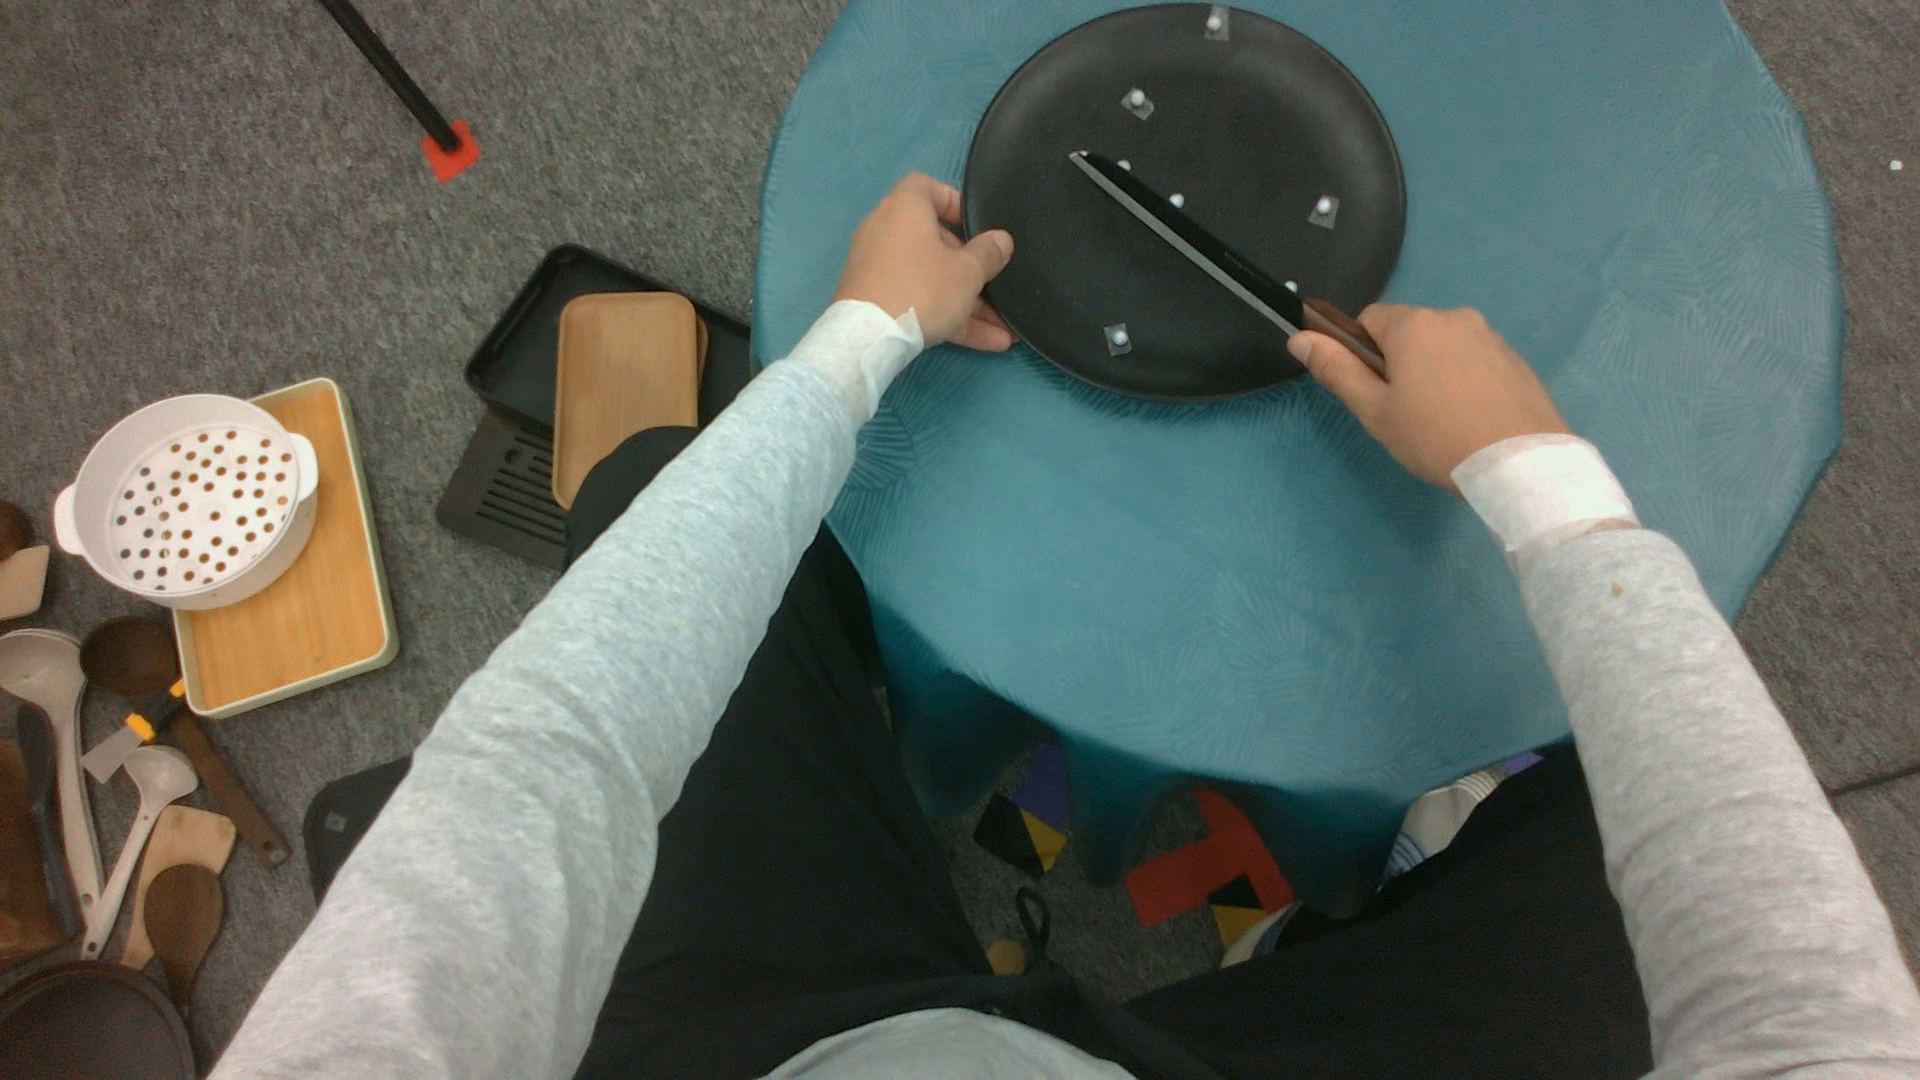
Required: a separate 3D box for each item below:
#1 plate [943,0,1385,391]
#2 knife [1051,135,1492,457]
[{"bbox_3d":[0.112,-0.194,0.770,0.244,0.023,0.245,0,75,2],"label":"plate"},{"bbox_3d":[0.155,-0.135,0.727,0.289,0.050,0.020,41,80,18],"label":"knife"}]
